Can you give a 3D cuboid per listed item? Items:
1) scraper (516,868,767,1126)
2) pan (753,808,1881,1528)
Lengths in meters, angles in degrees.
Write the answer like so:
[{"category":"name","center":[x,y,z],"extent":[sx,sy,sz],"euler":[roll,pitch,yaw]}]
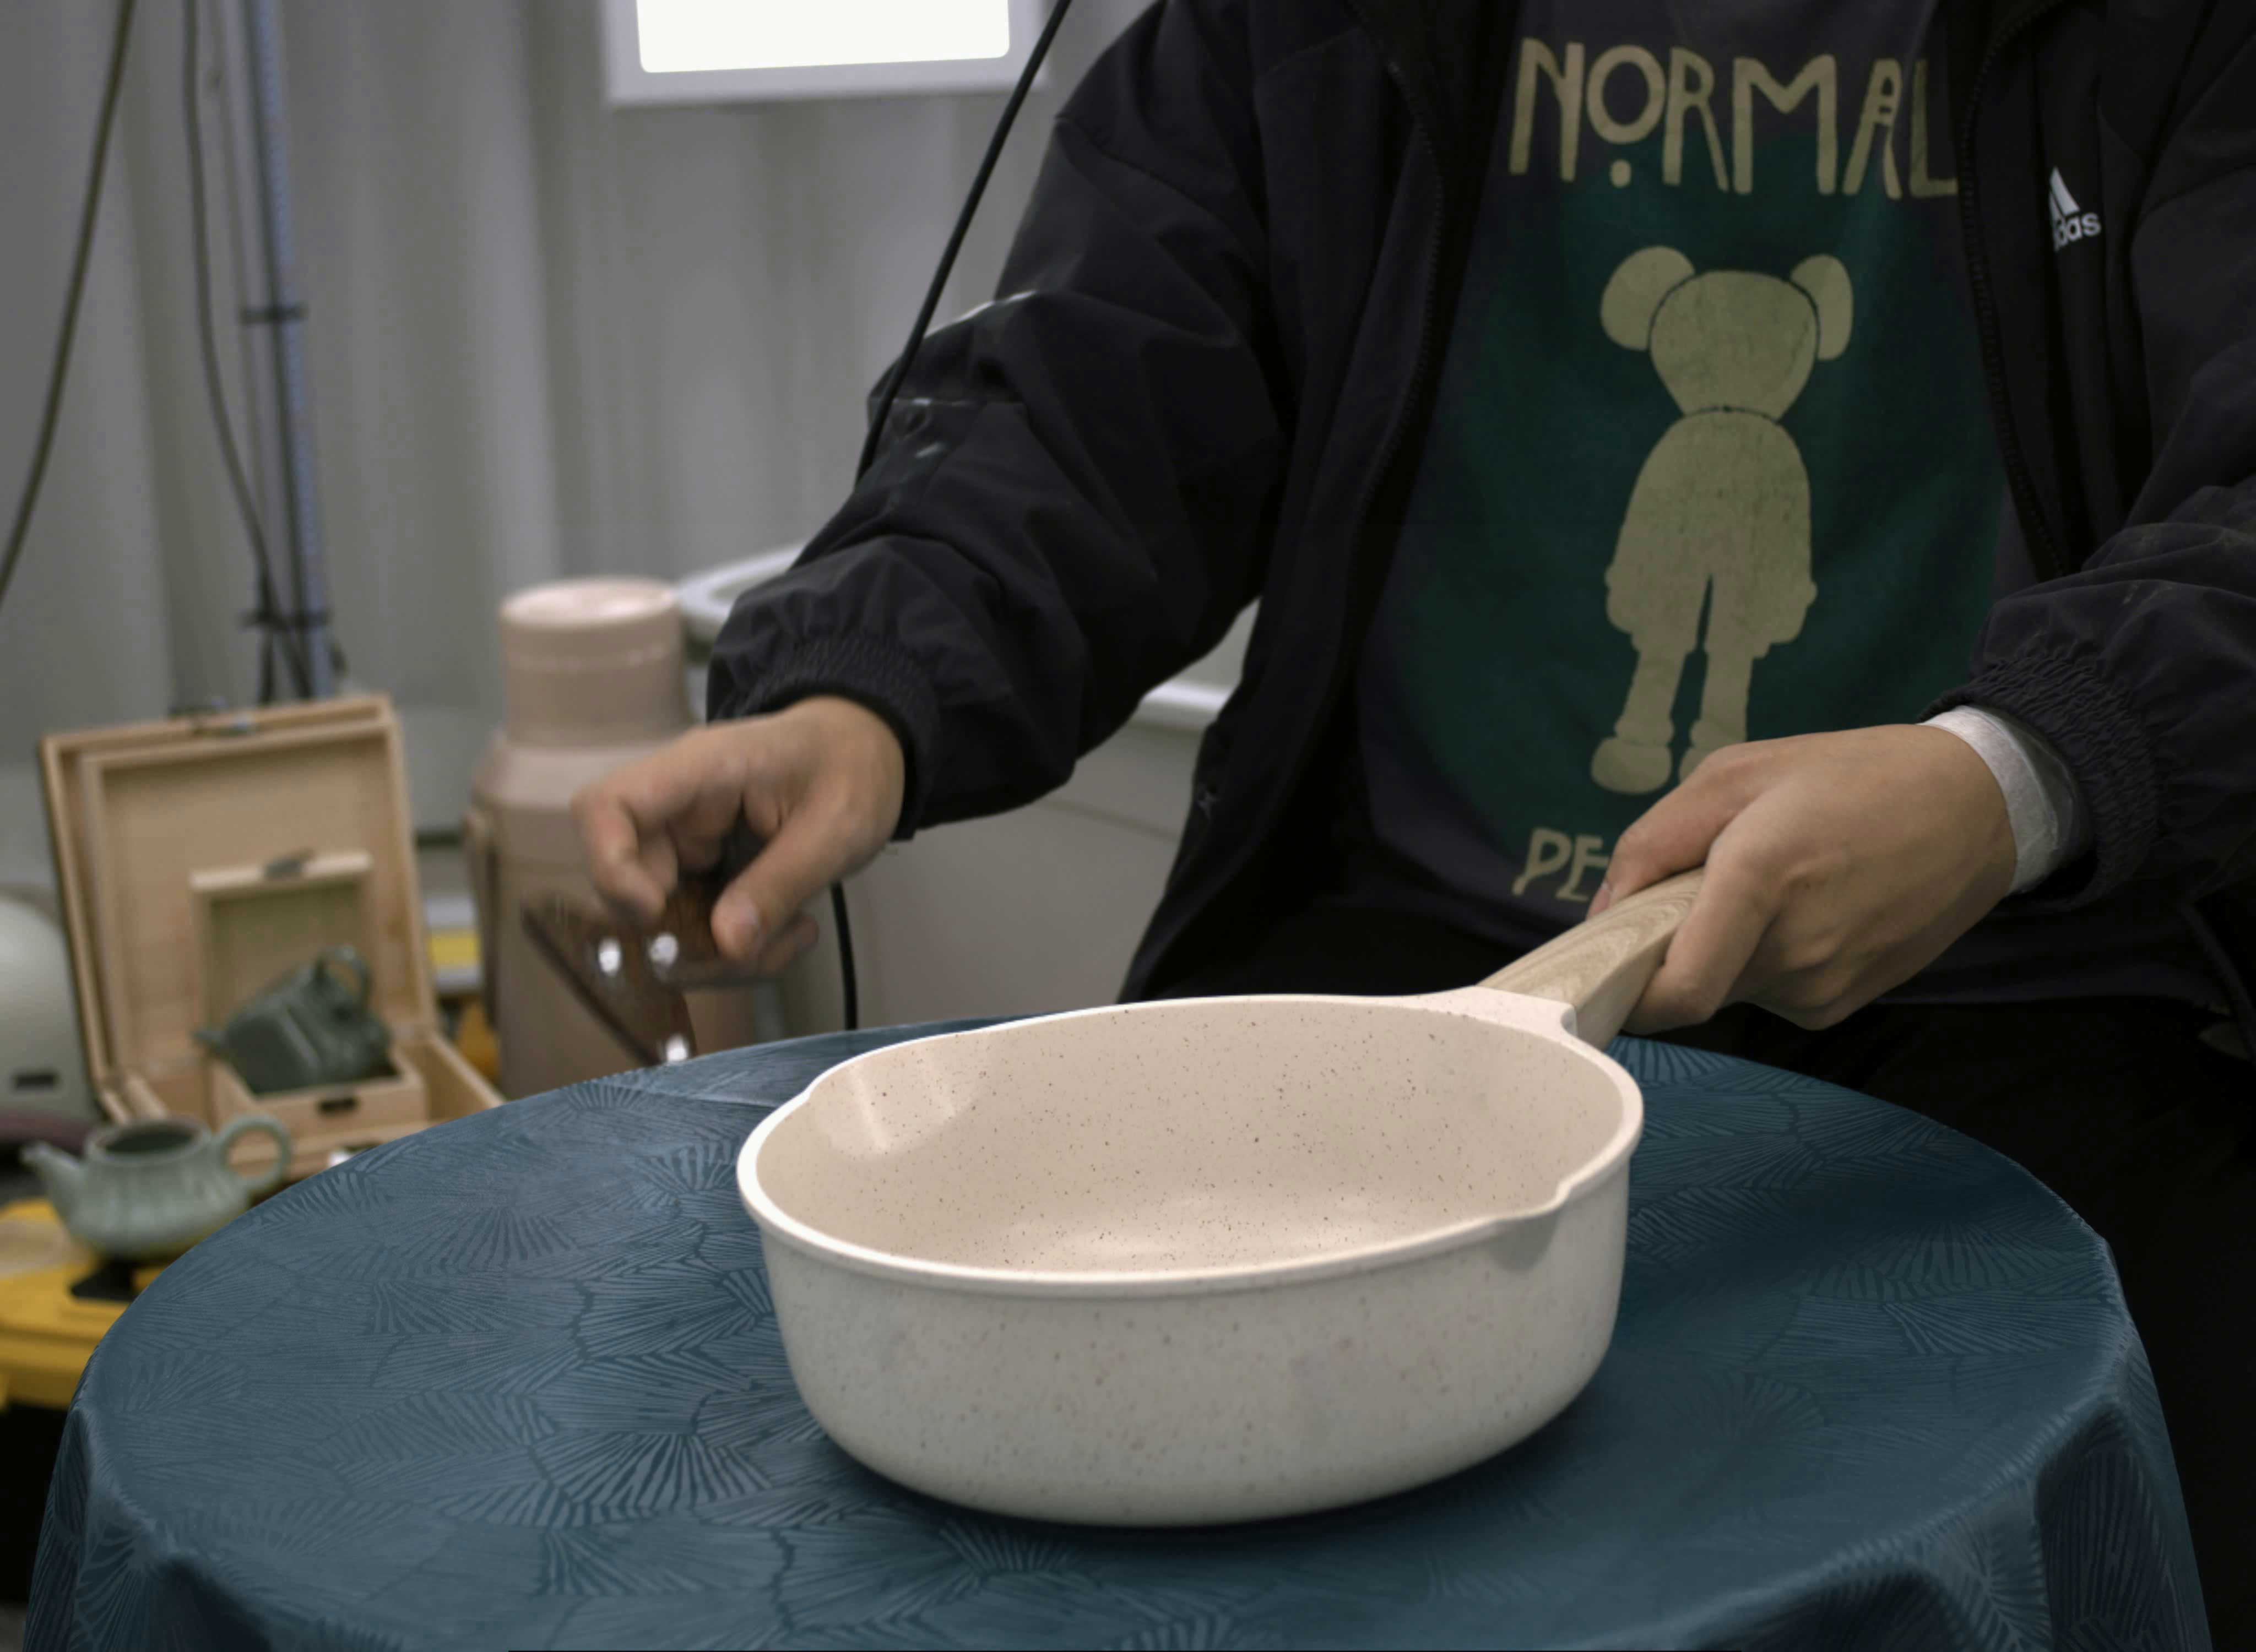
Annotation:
[{"category":"scraper","center":[-0.144,0.044,1.717],"extent":[0.011,0.076,0.212],"euler":[-42,2,14]},{"category":"pan","center":[0.087,0.094,1.573],"extent":[0.264,0.101,0.434],"euler":[8,19,43]}]
